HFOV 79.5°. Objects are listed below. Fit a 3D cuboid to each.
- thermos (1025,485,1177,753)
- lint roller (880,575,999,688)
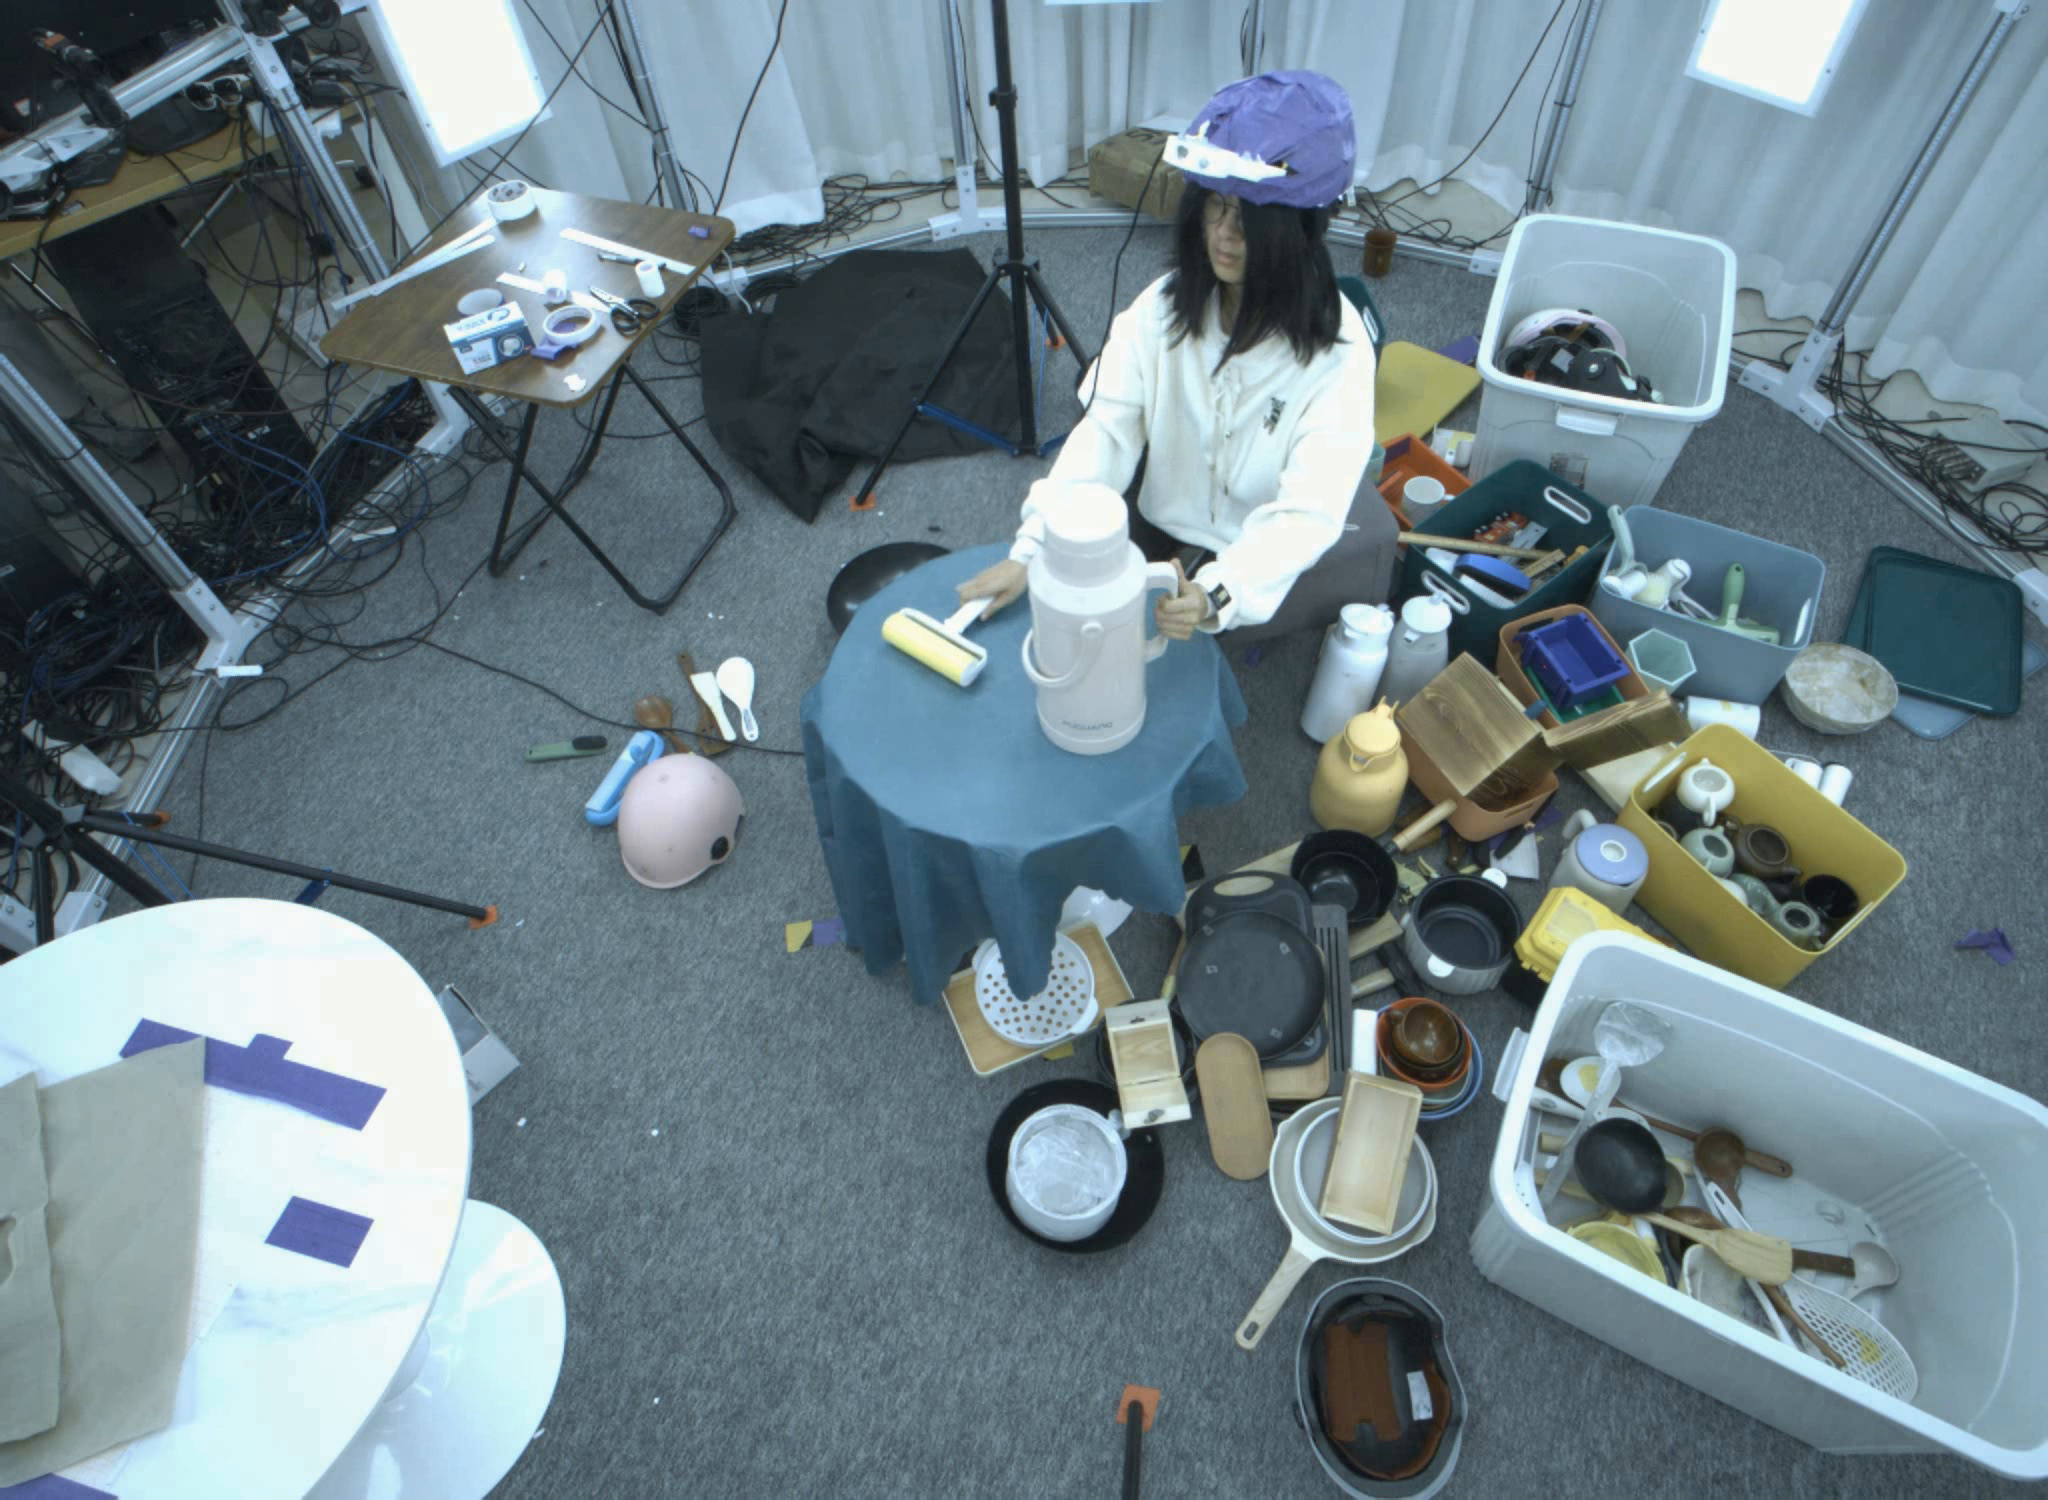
[{"bbox_3d":[0.100,-0.173,1.662,0.207,0.411,0.173,-4,54,1],"label":"thermos"},{"bbox_3d":[-0.104,-0.207,1.894,0.171,0.052,0.192,31,75,21],"label":"lint roller"}]
